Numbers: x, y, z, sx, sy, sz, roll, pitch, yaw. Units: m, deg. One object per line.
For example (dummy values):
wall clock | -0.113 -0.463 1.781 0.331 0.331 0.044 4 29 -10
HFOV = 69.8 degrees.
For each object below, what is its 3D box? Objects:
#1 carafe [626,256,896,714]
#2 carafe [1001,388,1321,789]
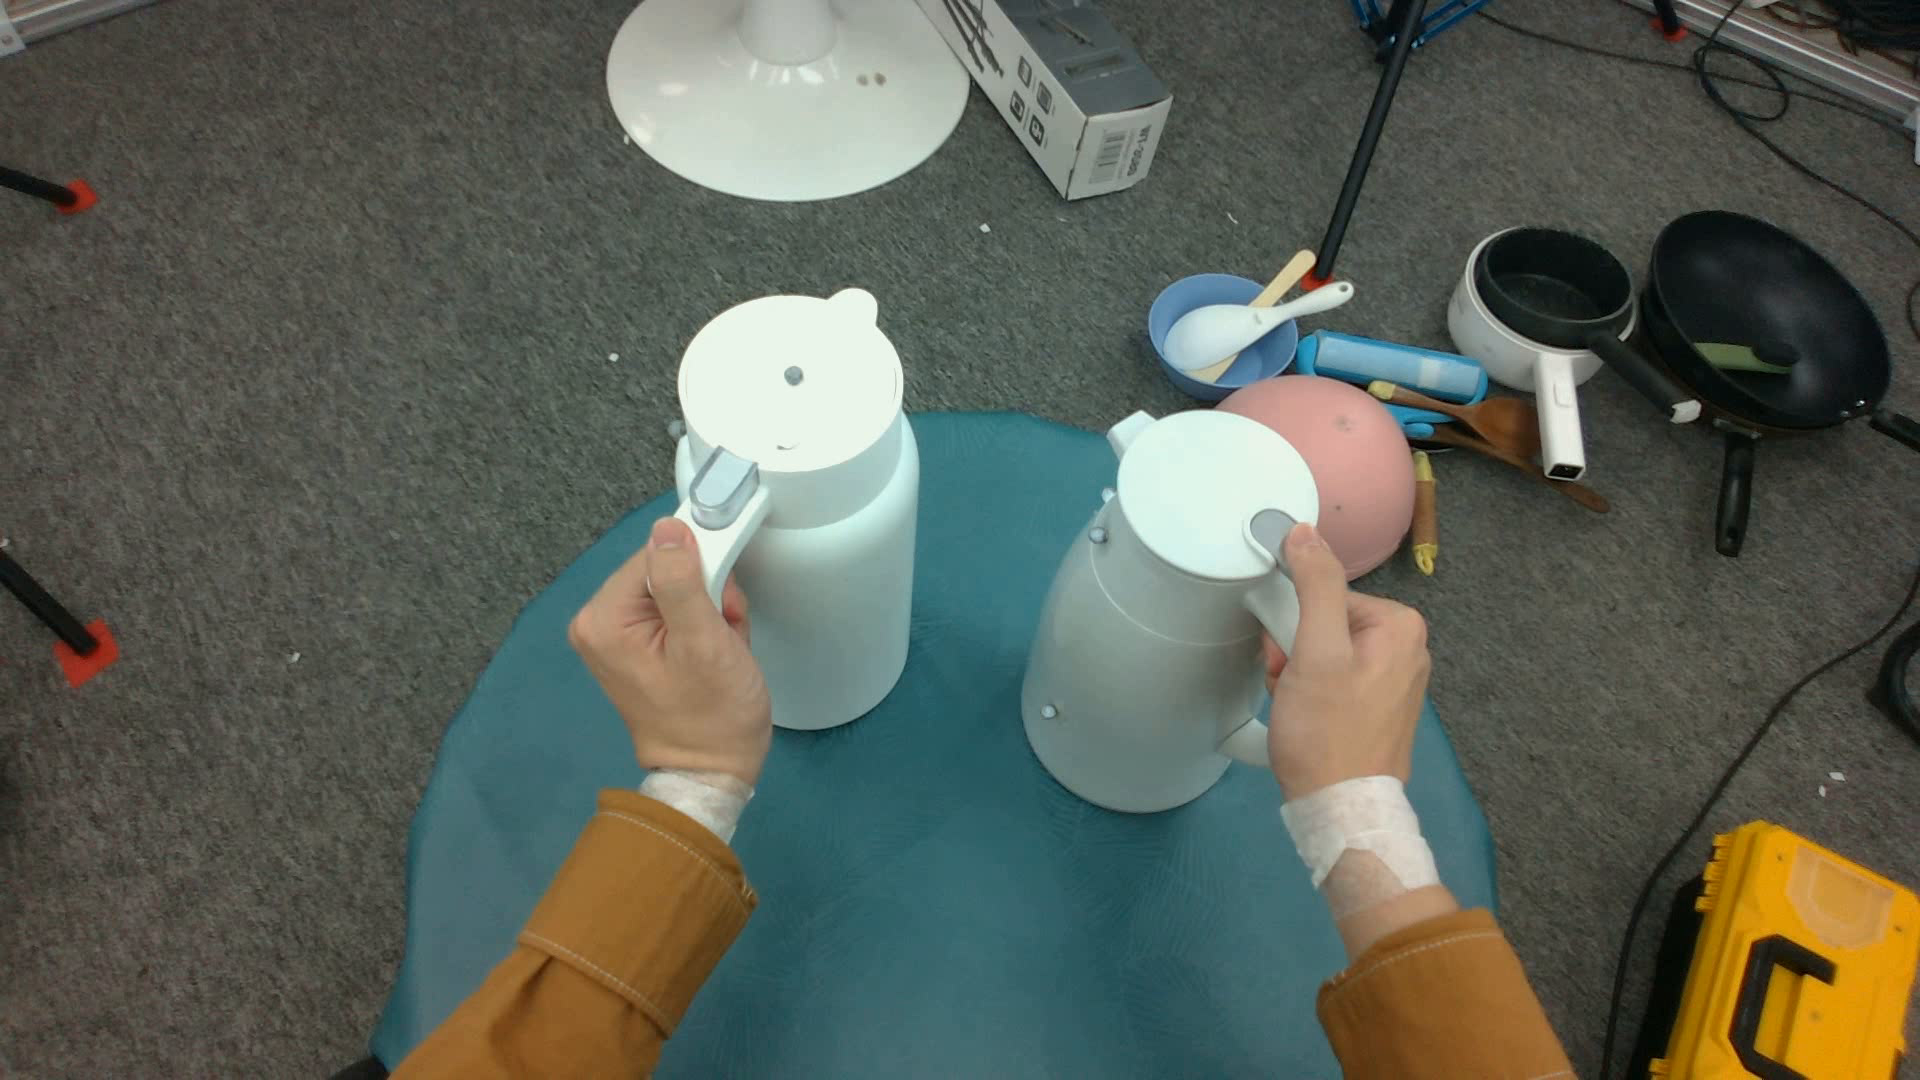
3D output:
carafe | -0.100 0.000 0.705 0.124 0.267 0.173 24 61 7
carafe | 0.110 0.038 0.711 0.133 0.247 0.168 -33 68 -21
